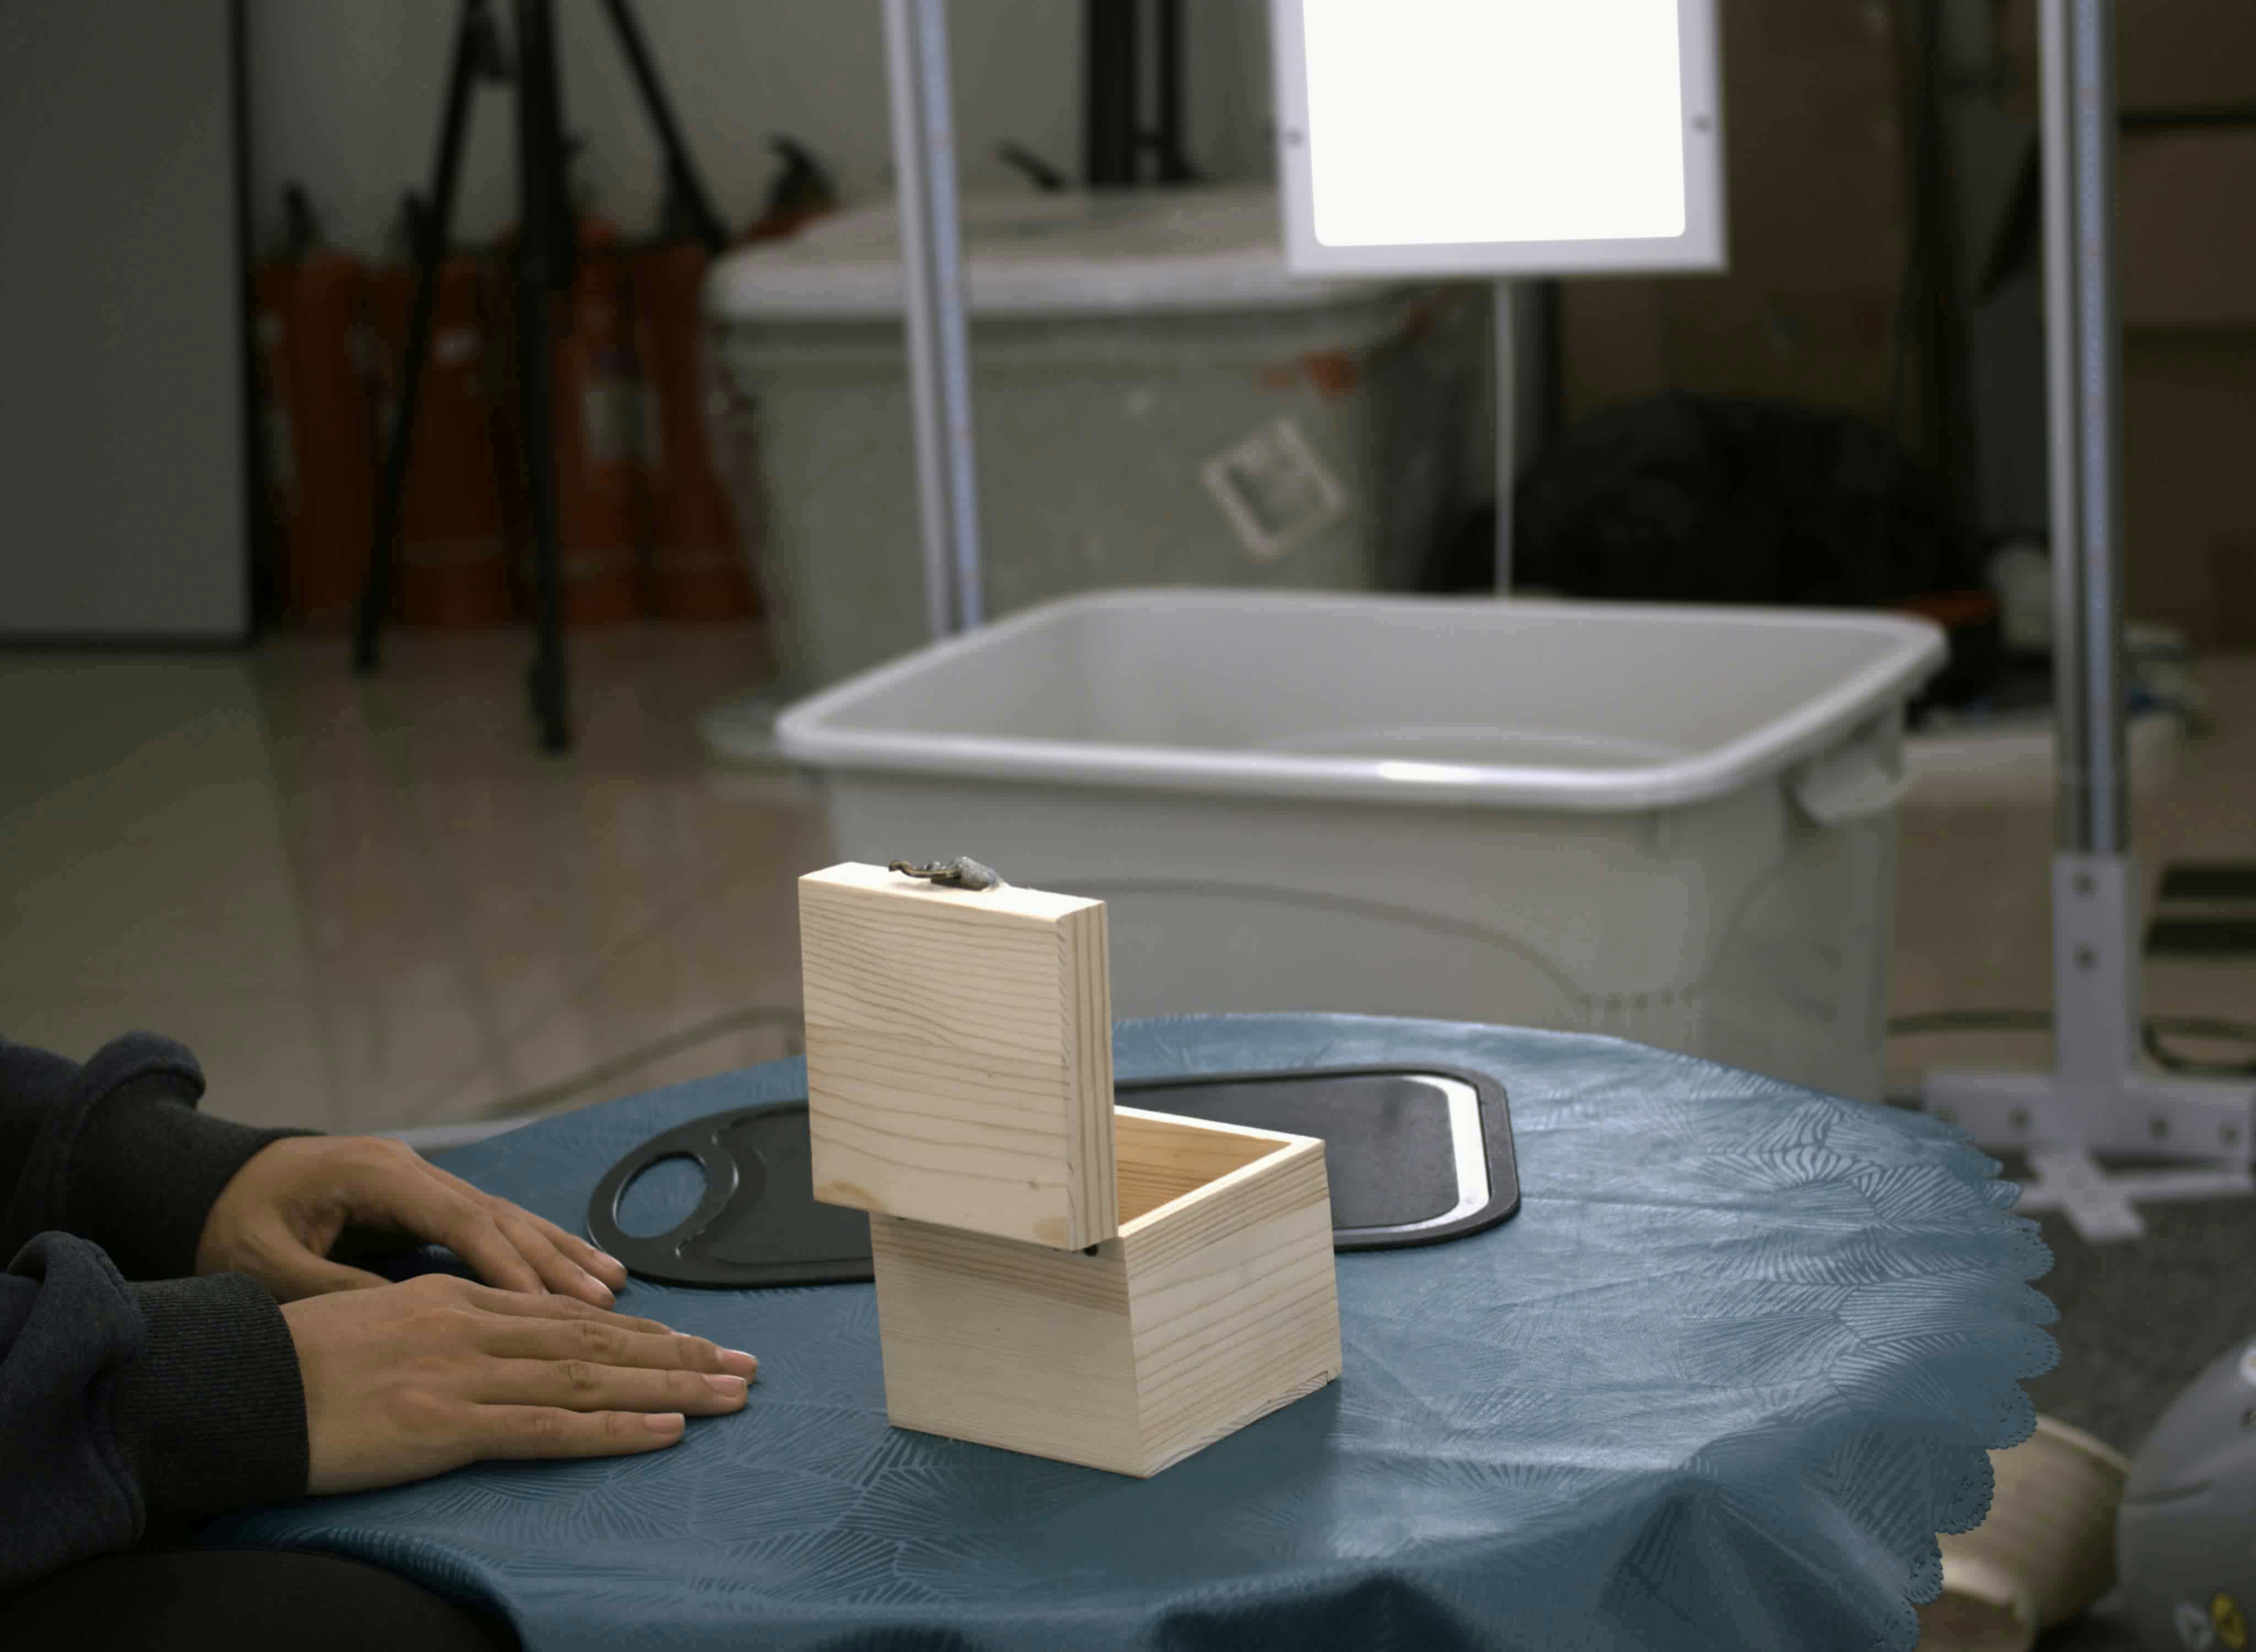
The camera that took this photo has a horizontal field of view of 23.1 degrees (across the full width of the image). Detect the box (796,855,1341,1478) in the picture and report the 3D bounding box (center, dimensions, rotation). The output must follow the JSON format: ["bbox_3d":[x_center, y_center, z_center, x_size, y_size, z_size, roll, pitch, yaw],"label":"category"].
[{"bbox_3d":[-0.016,0.090,1.662,0.105,0.185,0.130,8,19,39],"label":"box"}]

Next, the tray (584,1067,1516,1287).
[{"bbox_3d":[-0.028,0.120,1.921,0.326,0.010,0.210,-4,14,5],"label":"tray"}]
